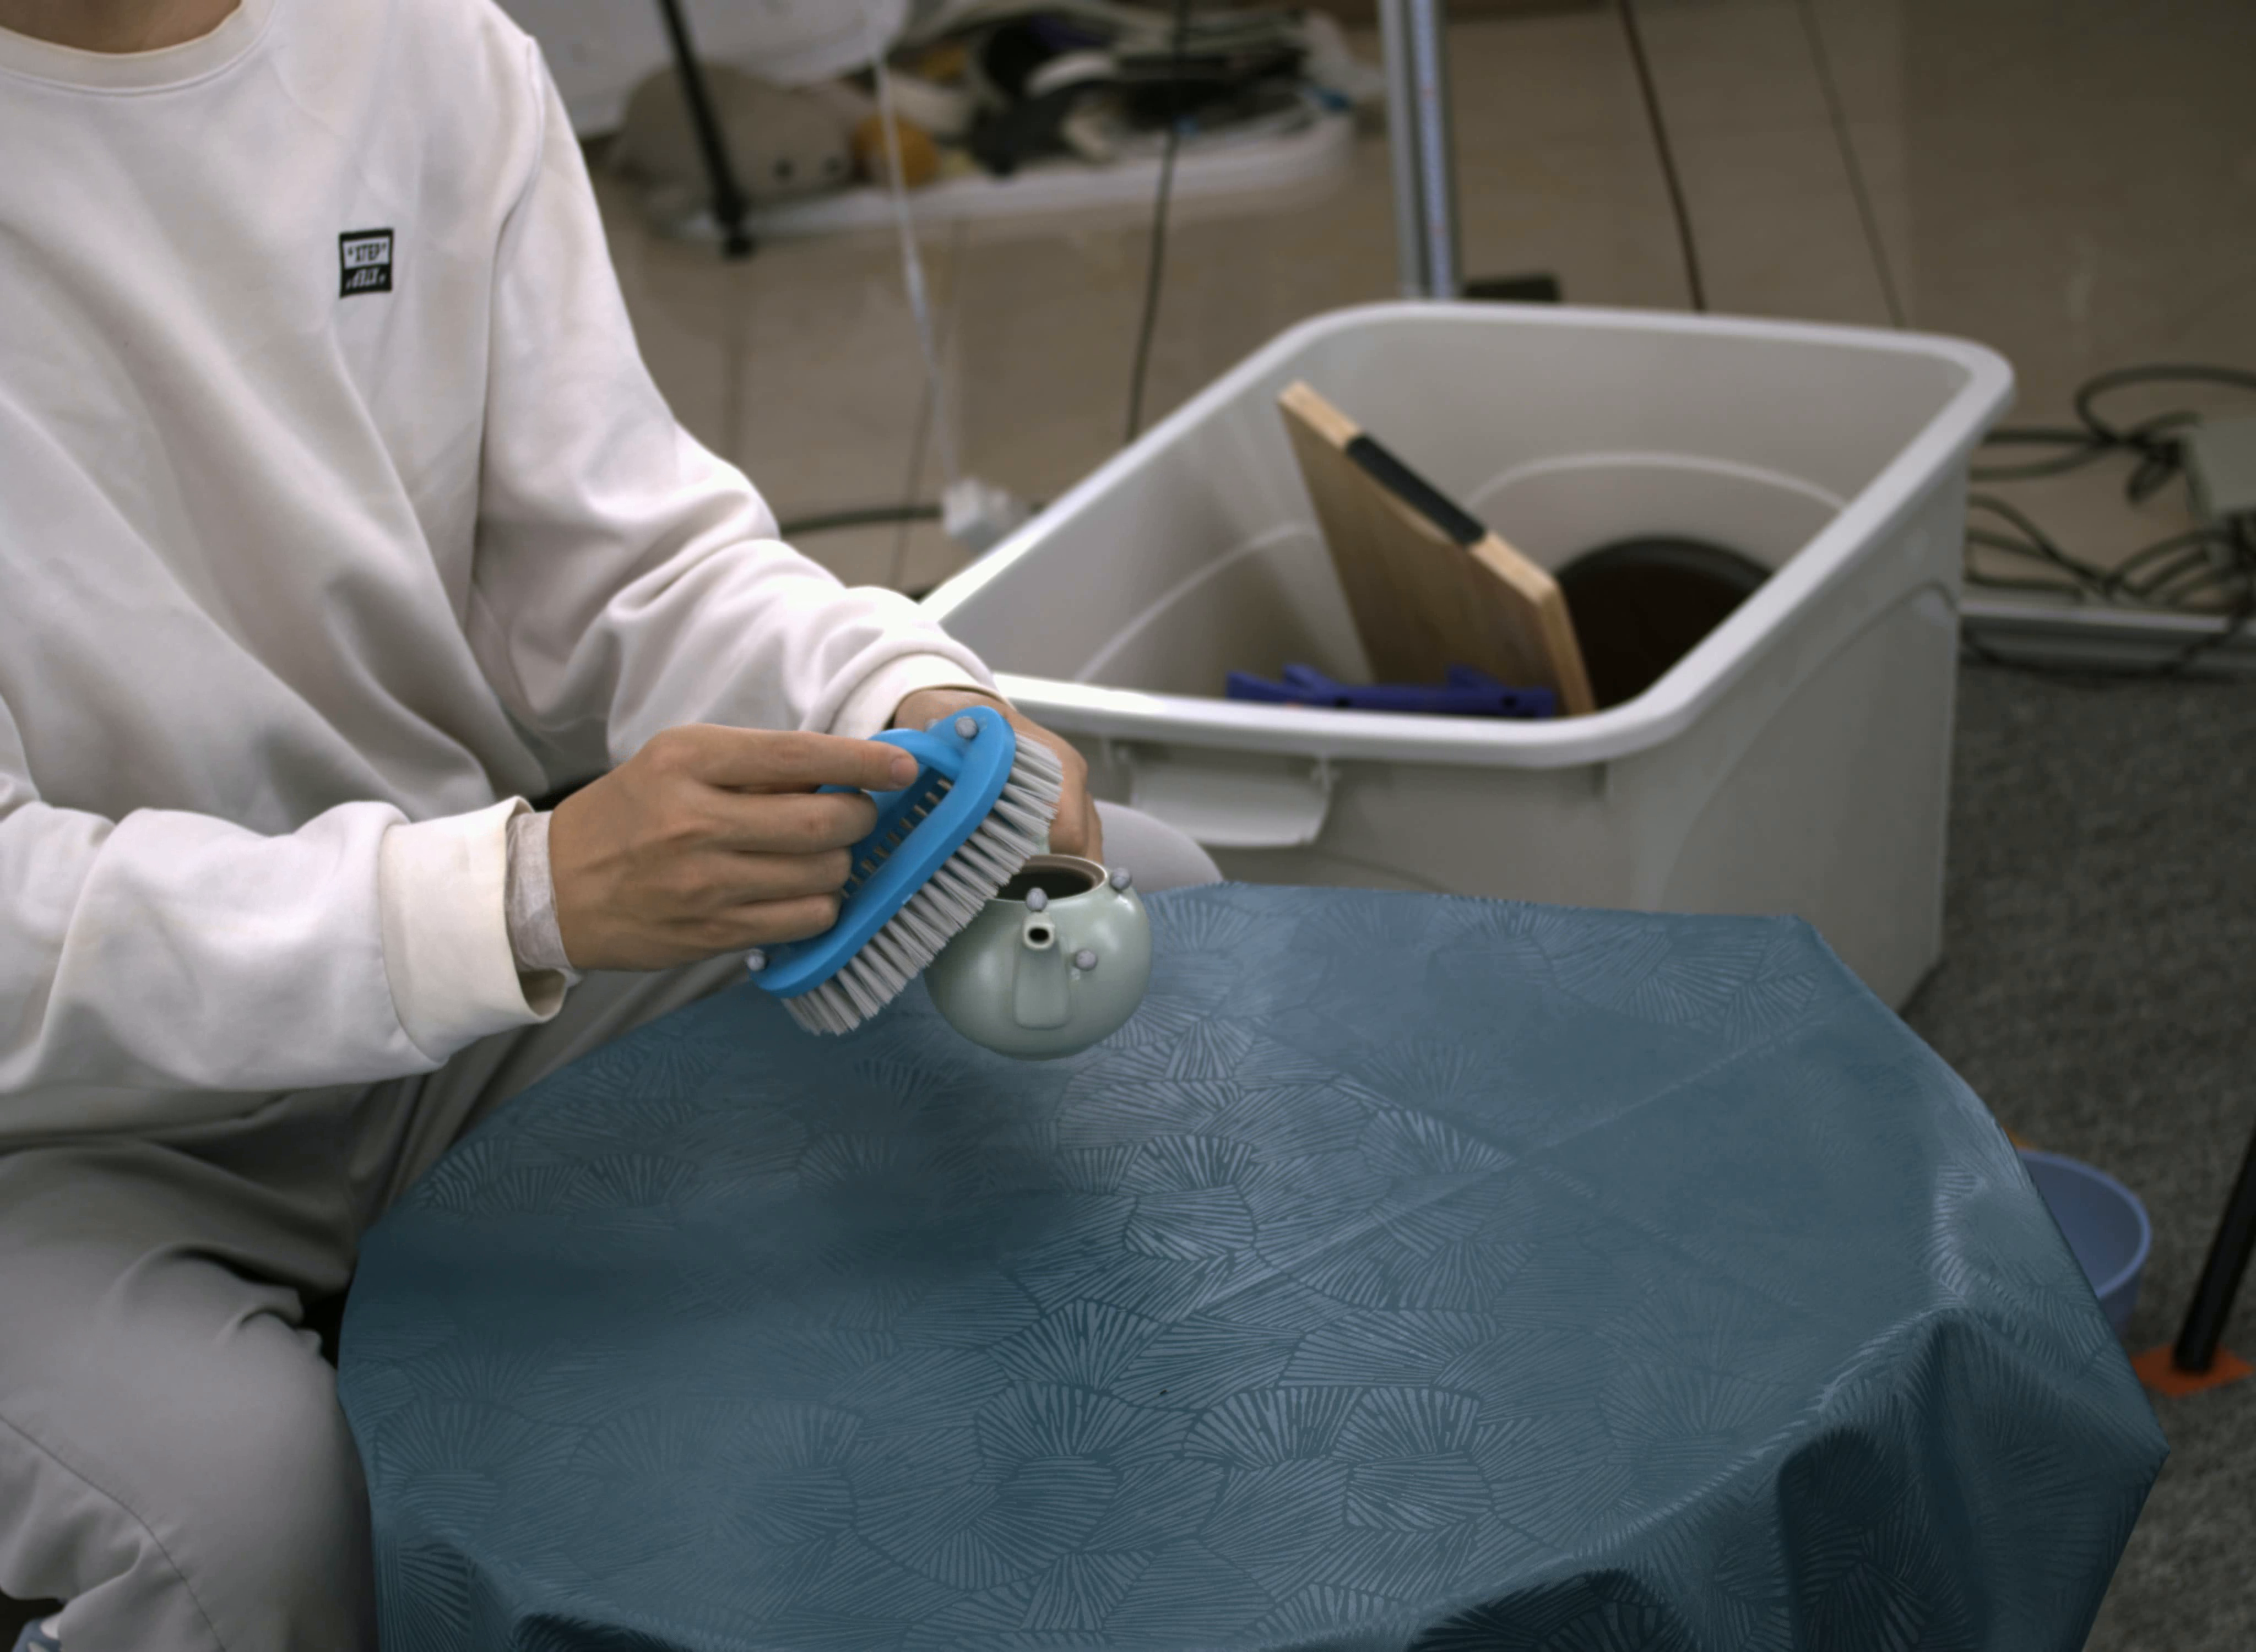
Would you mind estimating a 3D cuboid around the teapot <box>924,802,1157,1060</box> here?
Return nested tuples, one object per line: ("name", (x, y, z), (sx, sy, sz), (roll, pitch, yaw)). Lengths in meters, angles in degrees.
("teapot", (-0.033, 0.047, 2.140), (0.088, 0.076, 0.142), (-3, 23, 0))

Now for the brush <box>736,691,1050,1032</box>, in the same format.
("brush", (-0.096, 0.008, 2.099), (0.142, 0.064, 0.083), (-46, 35, 12))
